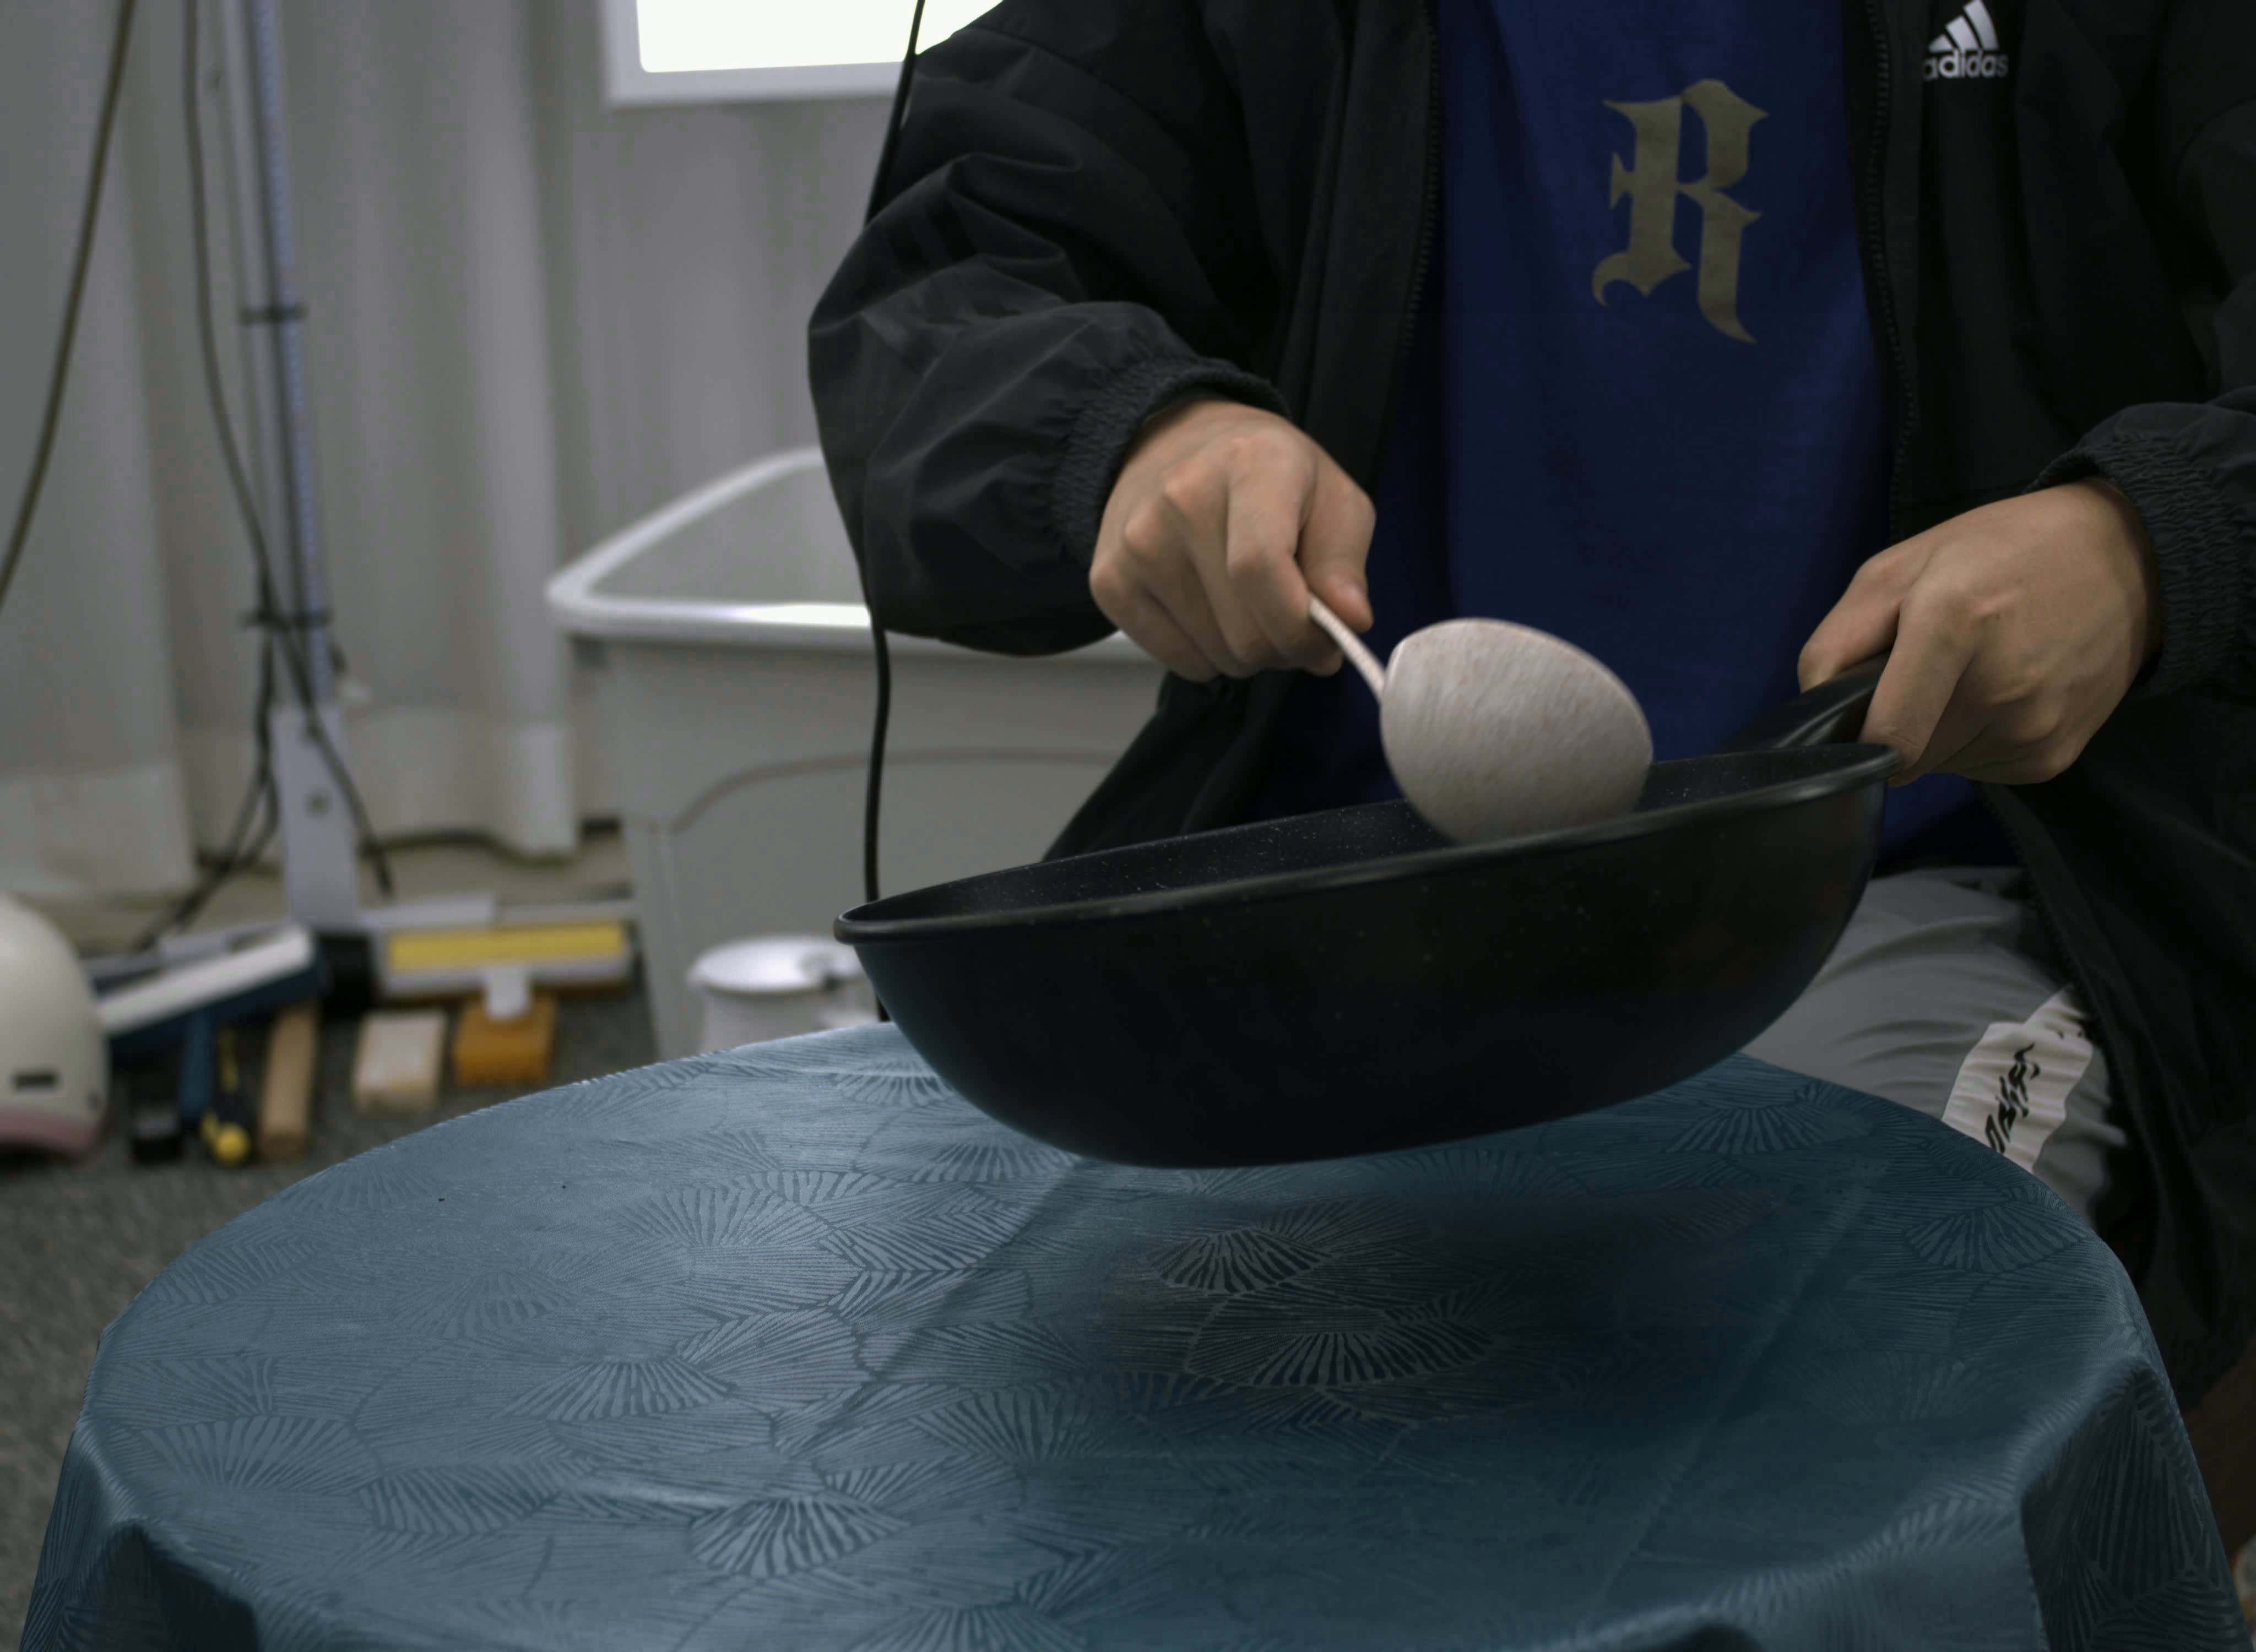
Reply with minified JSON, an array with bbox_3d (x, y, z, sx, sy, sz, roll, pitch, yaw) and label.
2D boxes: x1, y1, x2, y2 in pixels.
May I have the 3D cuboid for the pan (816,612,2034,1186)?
[{"bbox_3d":[0.126,0.022,1.613,0.311,0.112,0.475,-5,5,45],"label":"pan"}]

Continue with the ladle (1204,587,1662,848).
[{"bbox_3d":[0.088,-0.056,1.704,0.069,0.088,0.277,-39,19,-3],"label":"ladle"}]
